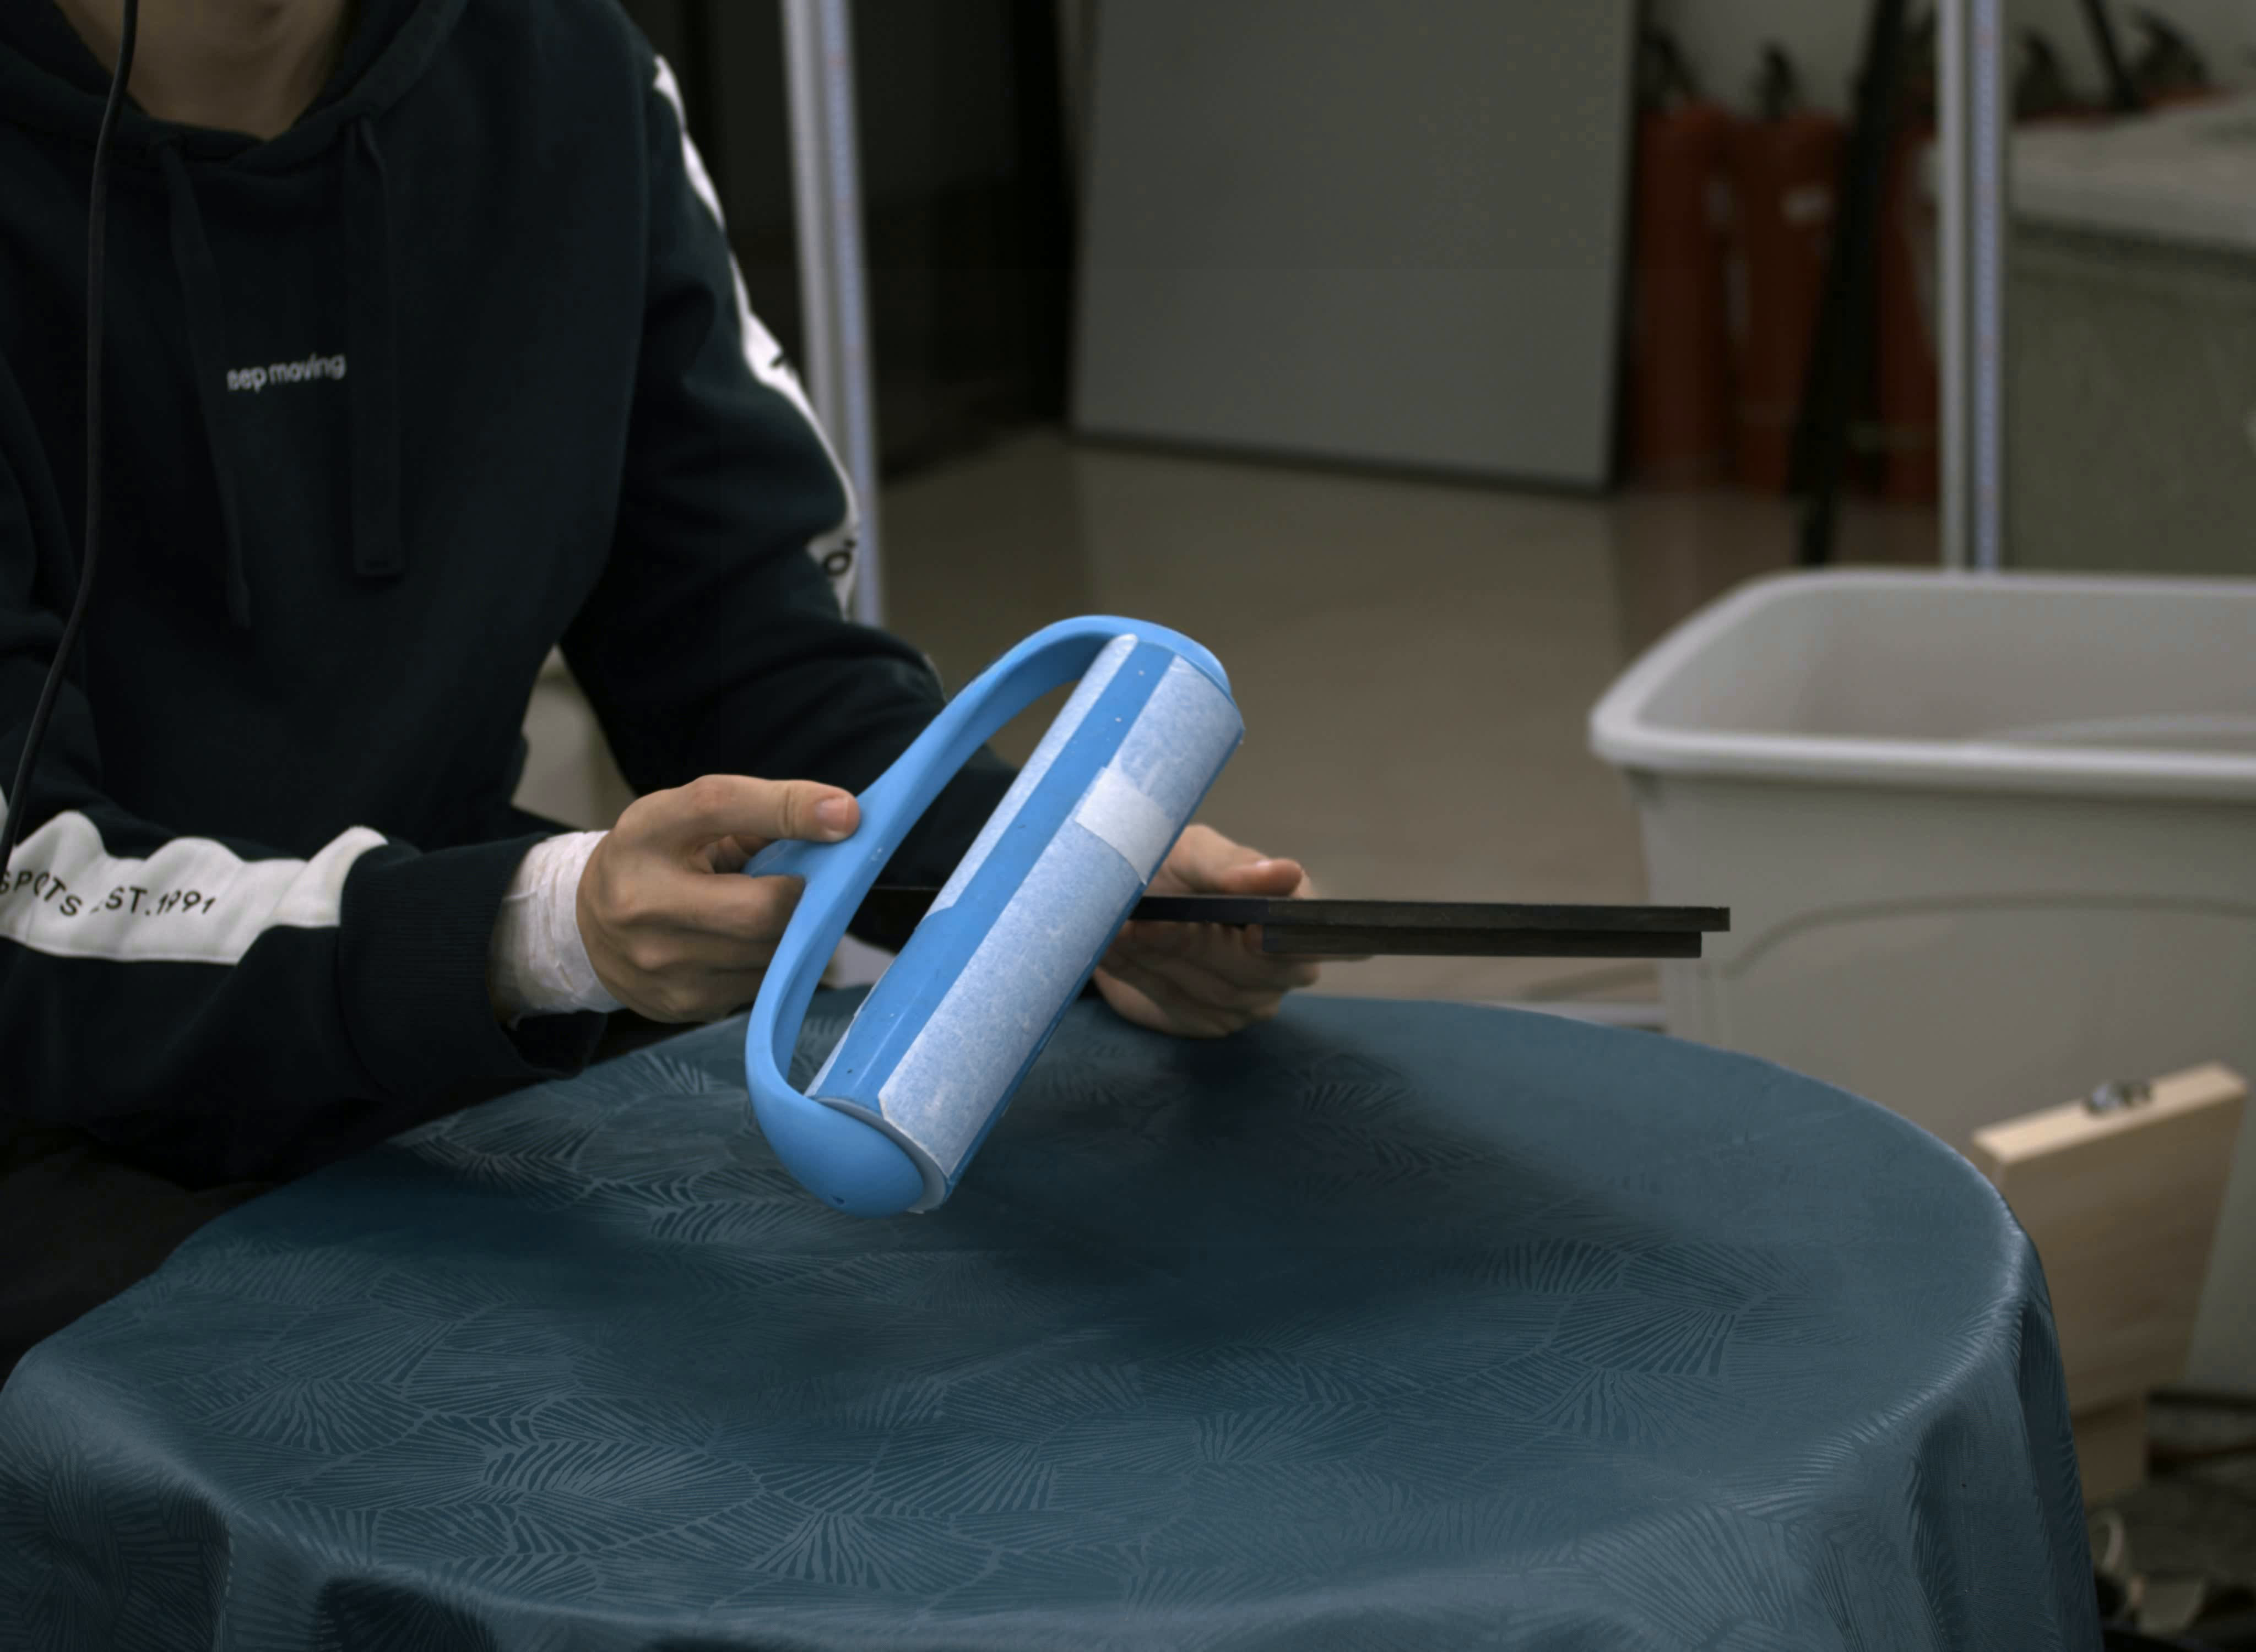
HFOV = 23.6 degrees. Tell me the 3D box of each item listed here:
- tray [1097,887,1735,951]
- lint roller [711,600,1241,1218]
[{"bbox_3d":[0.048,0.030,1.757,0.166,0.019,0.309,2,-2,-28],"label":"tray"},{"bbox_3d":[-0.077,0.025,1.679,0.181,0.067,0.229,-2,48,40],"label":"lint roller"}]
